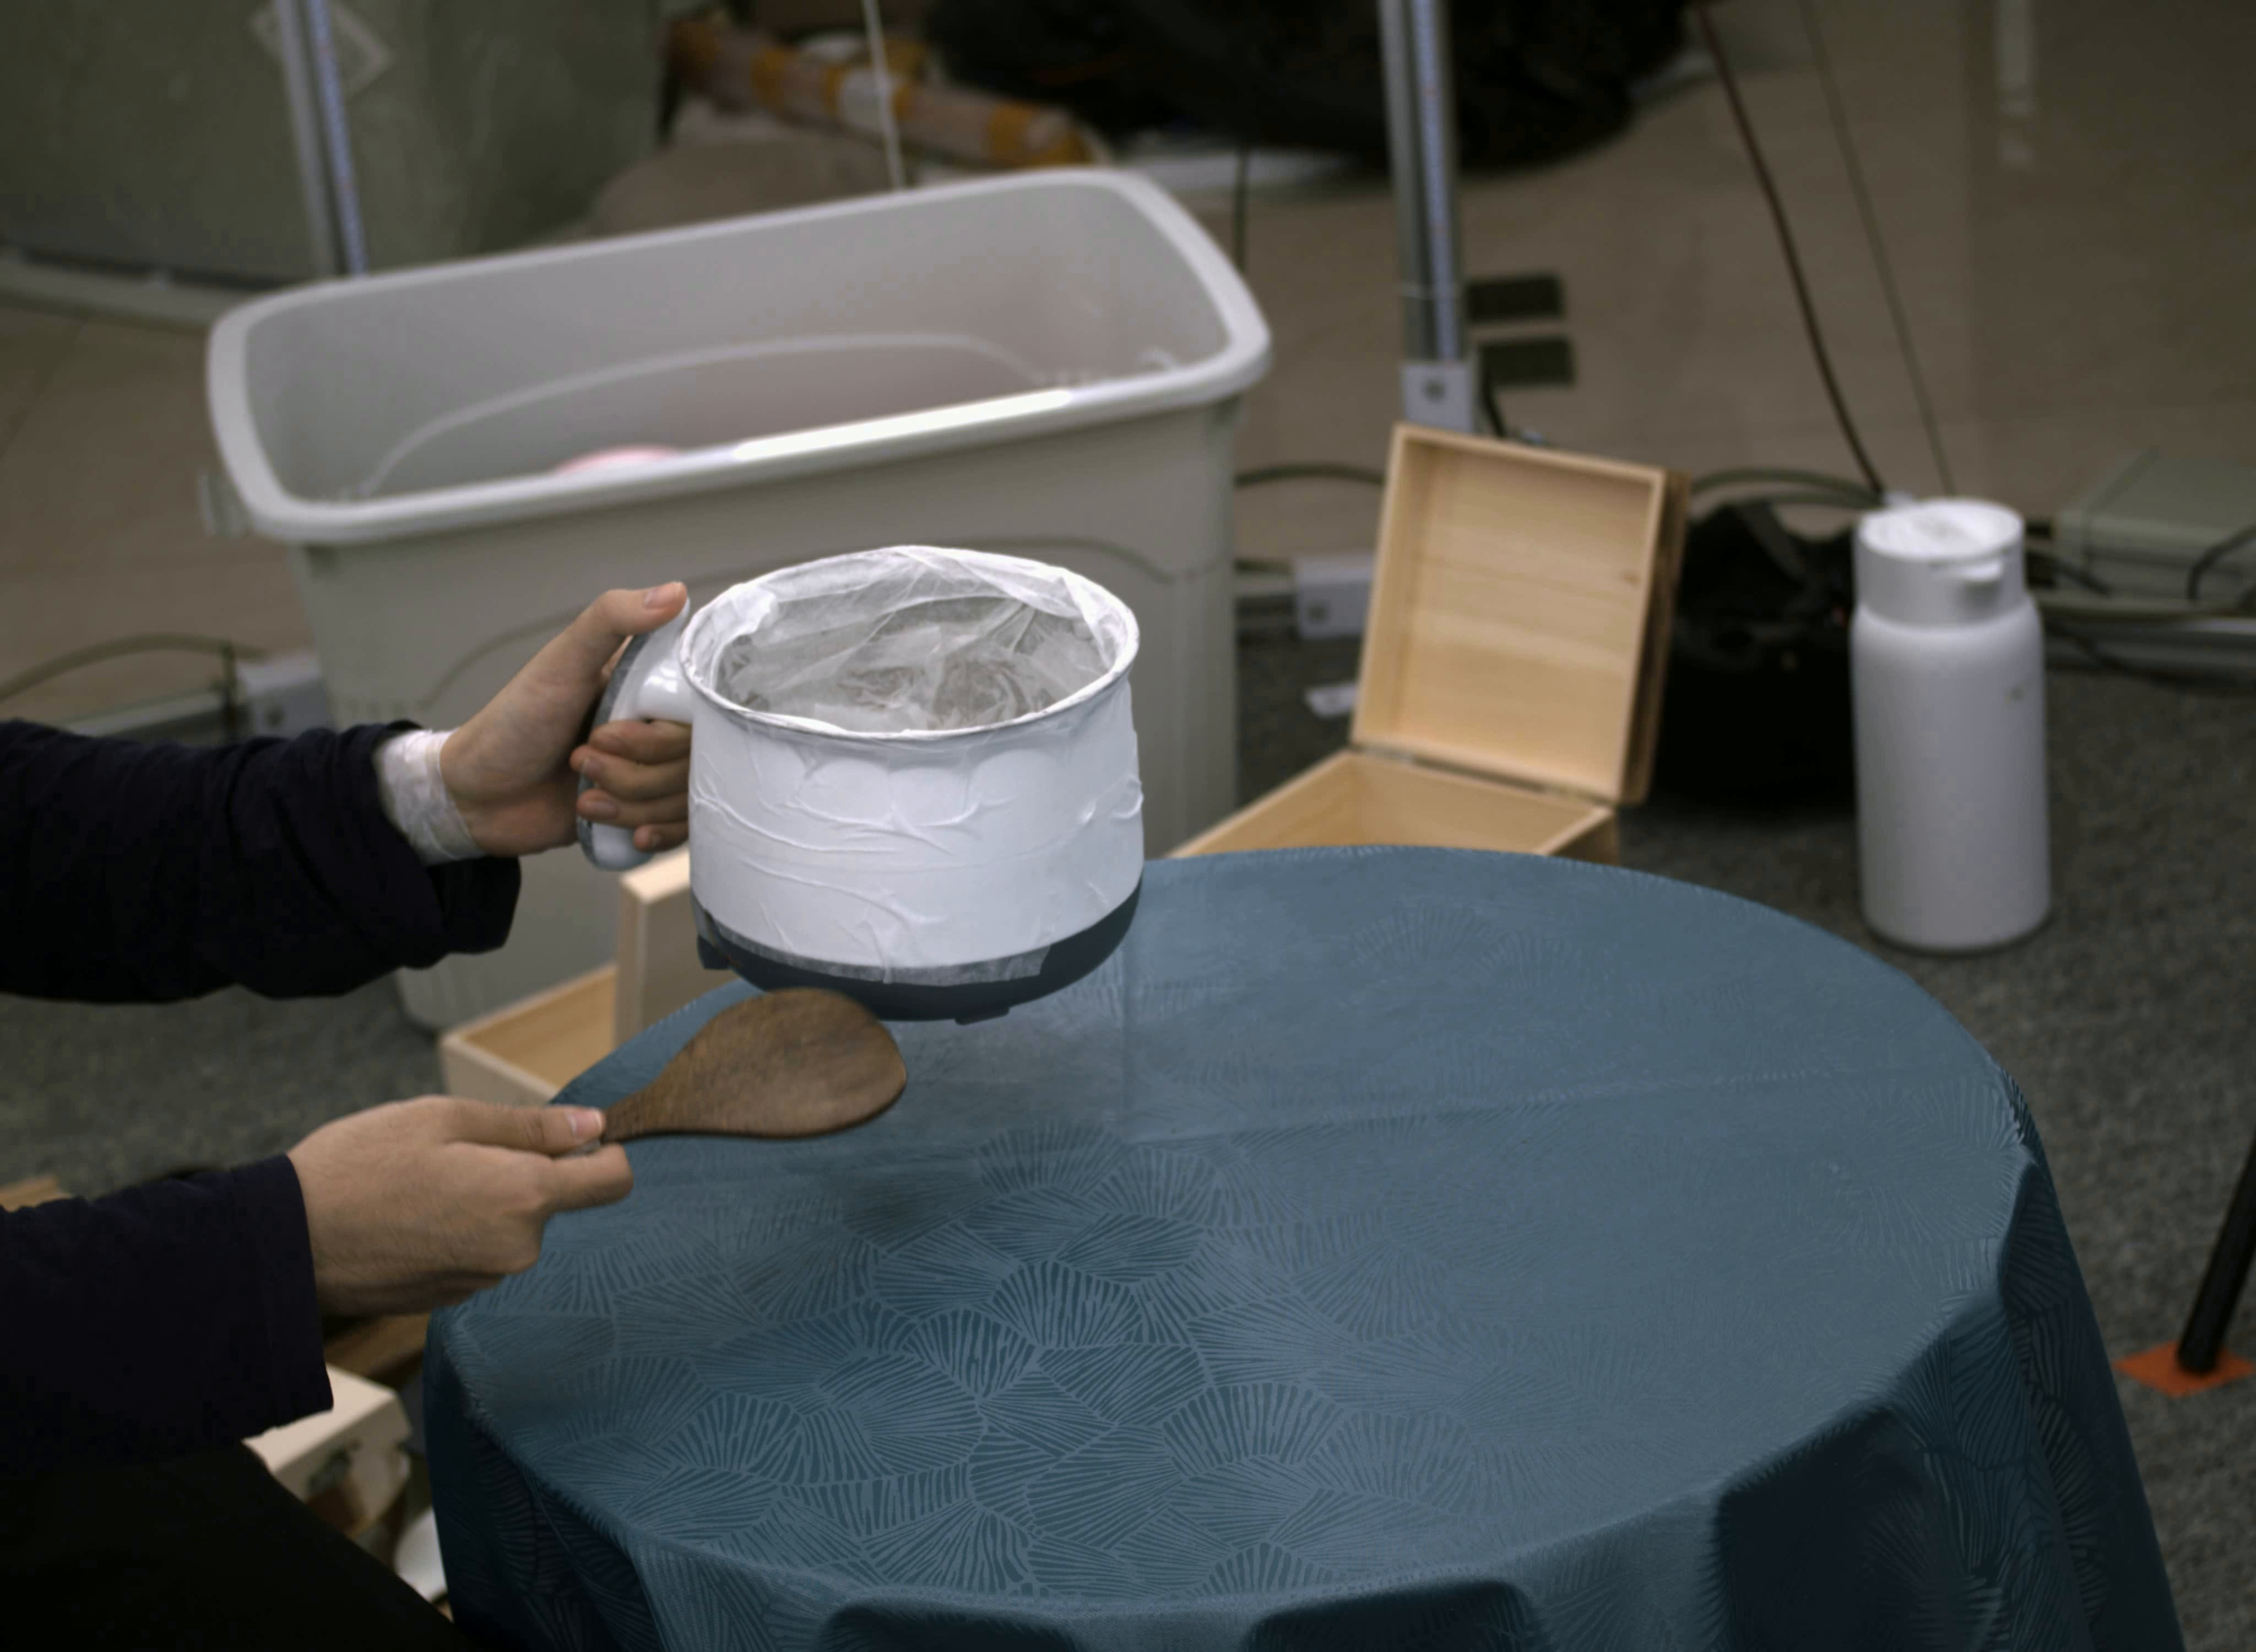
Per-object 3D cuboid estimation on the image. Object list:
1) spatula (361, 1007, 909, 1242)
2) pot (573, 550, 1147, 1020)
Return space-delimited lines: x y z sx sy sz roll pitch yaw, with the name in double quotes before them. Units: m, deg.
"spatula" -0.181 0.112 2.065 0.214 0.009 0.071 -18 48 -24
"pot" -0.108 -0.020 2.197 0.233 0.139 0.176 10 26 18
